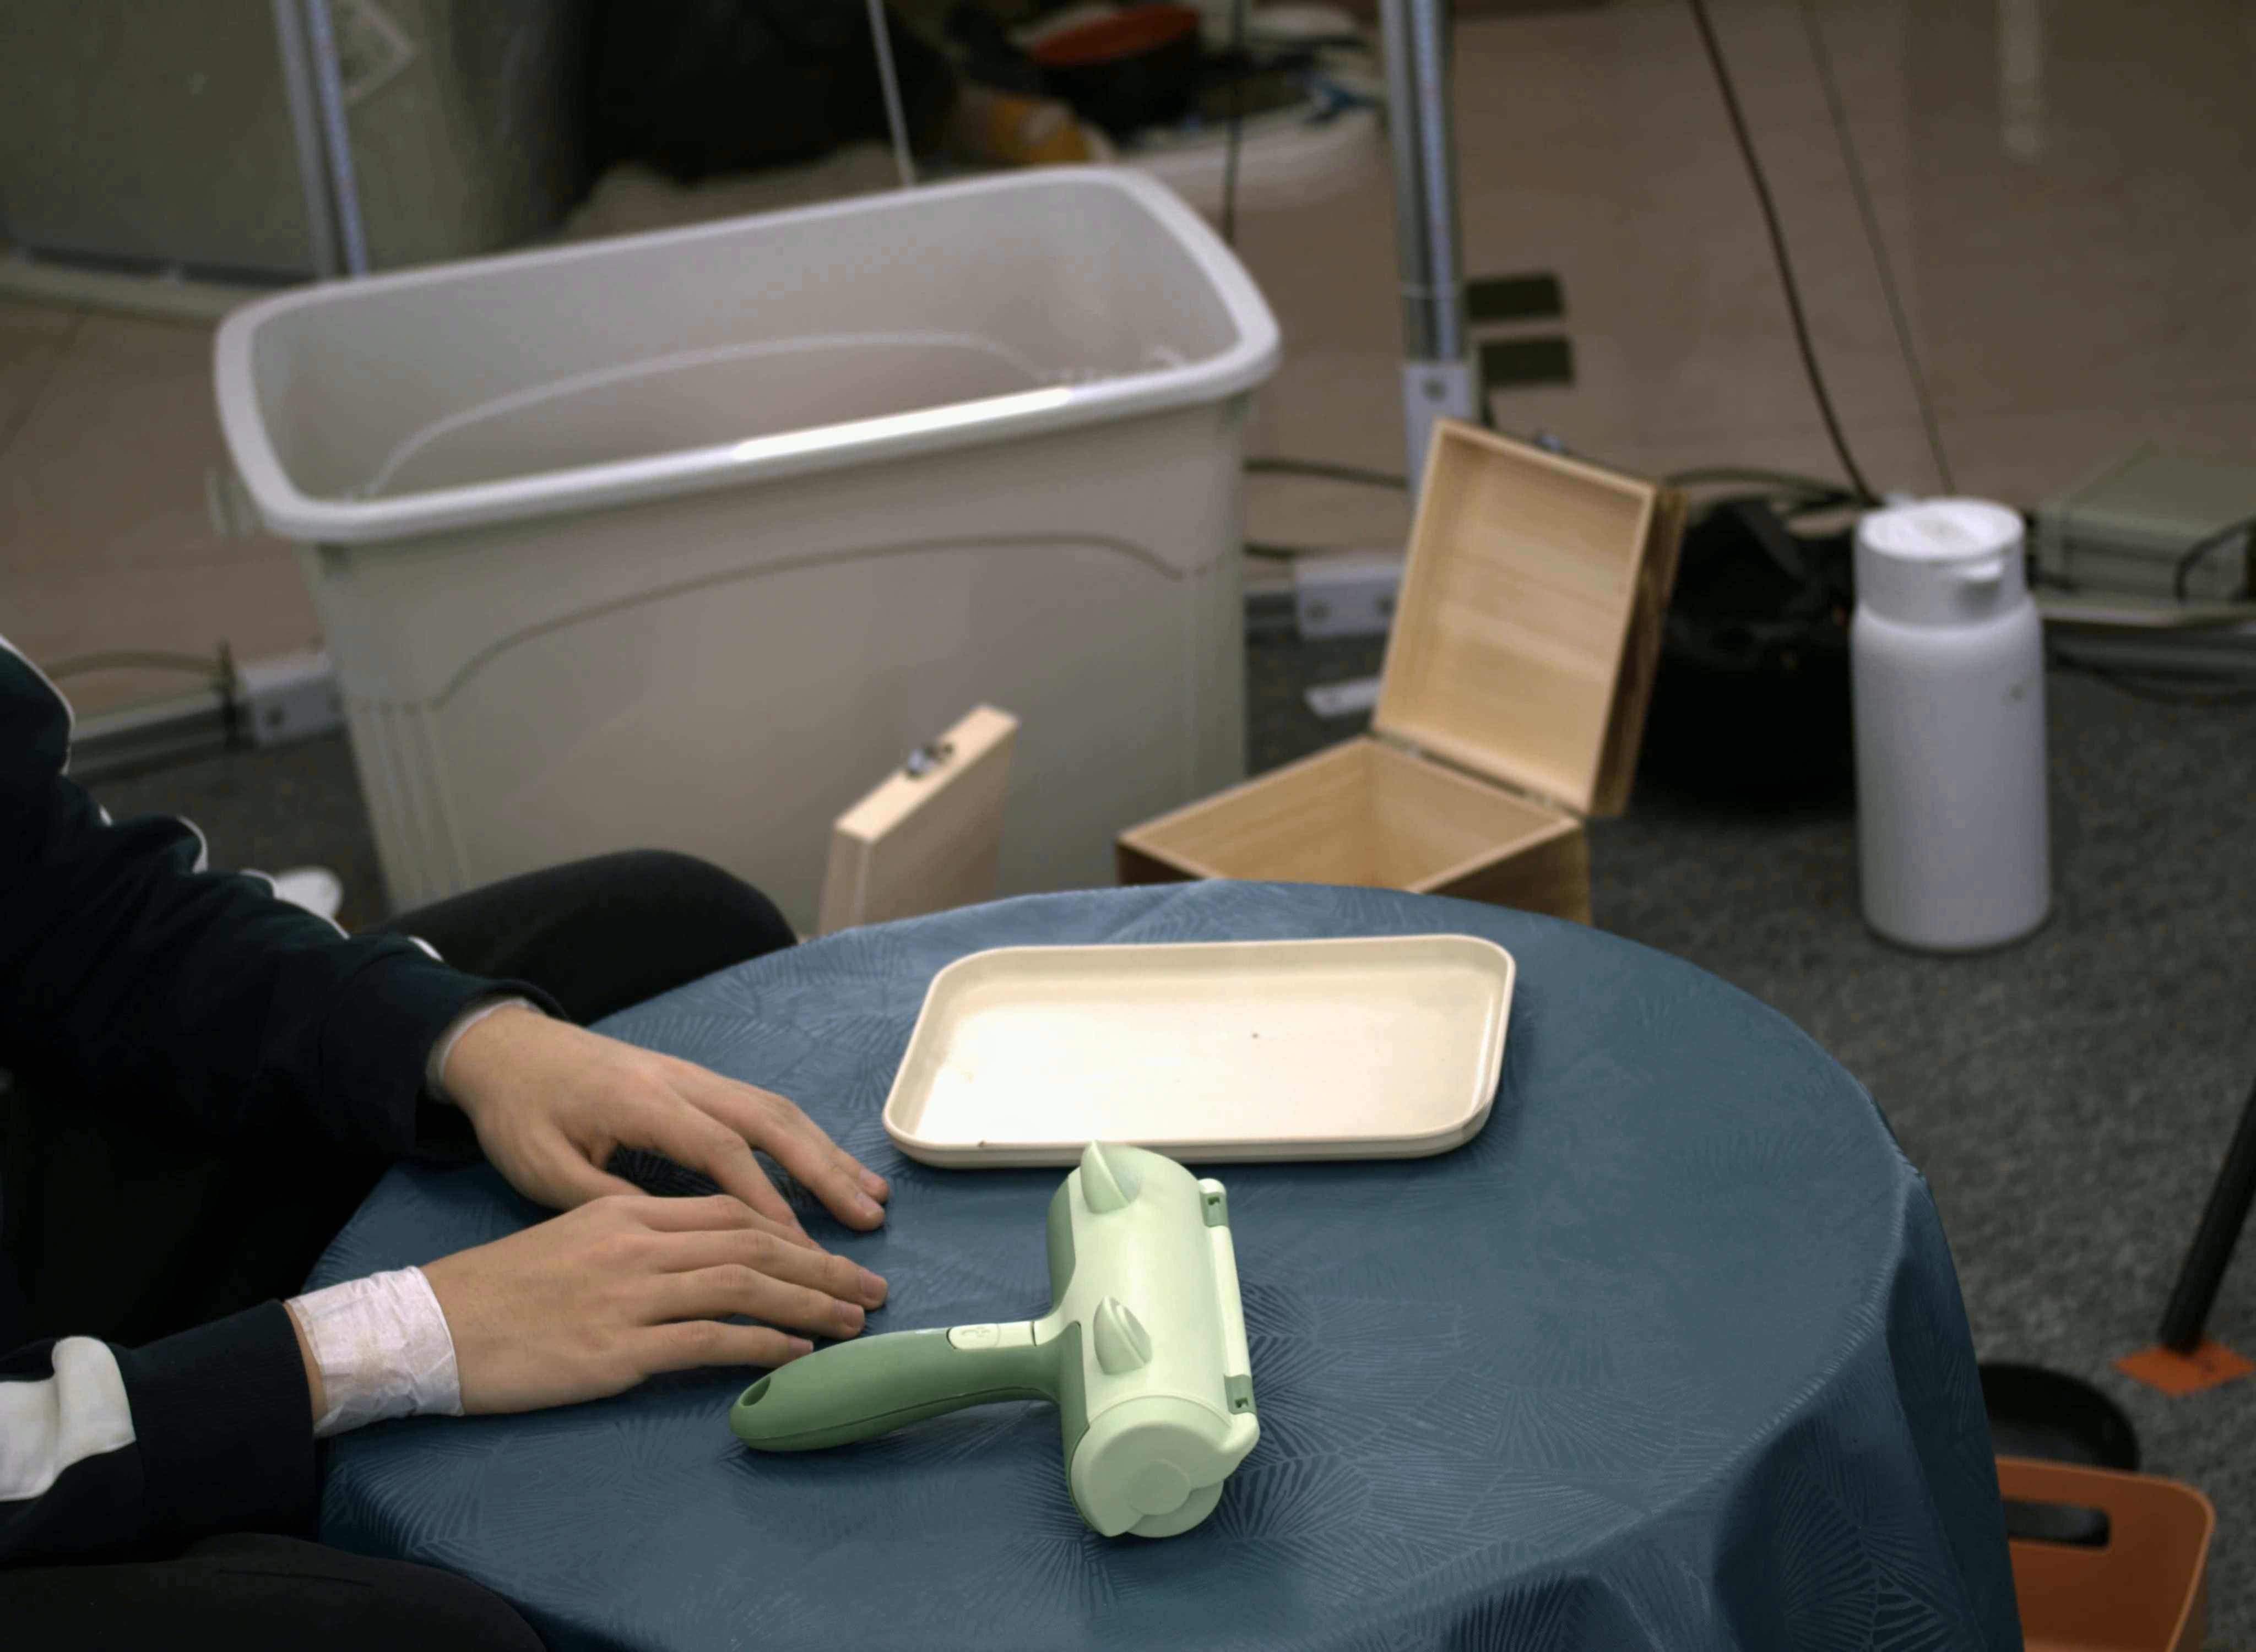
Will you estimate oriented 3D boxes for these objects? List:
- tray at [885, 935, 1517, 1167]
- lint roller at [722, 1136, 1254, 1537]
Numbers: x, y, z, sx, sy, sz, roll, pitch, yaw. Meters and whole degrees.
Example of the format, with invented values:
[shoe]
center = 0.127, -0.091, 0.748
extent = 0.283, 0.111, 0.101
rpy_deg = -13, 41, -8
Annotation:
[tray]
center = 0.031, 0.089, 2.221
extent = 0.239, 0.018, 0.169
rpy_deg = -2, 25, 9
[lint roller]
center = -0.052, 0.175, 1.987
extent = 0.183, 0.083, 0.195
rpy_deg = -2, 25, -2
